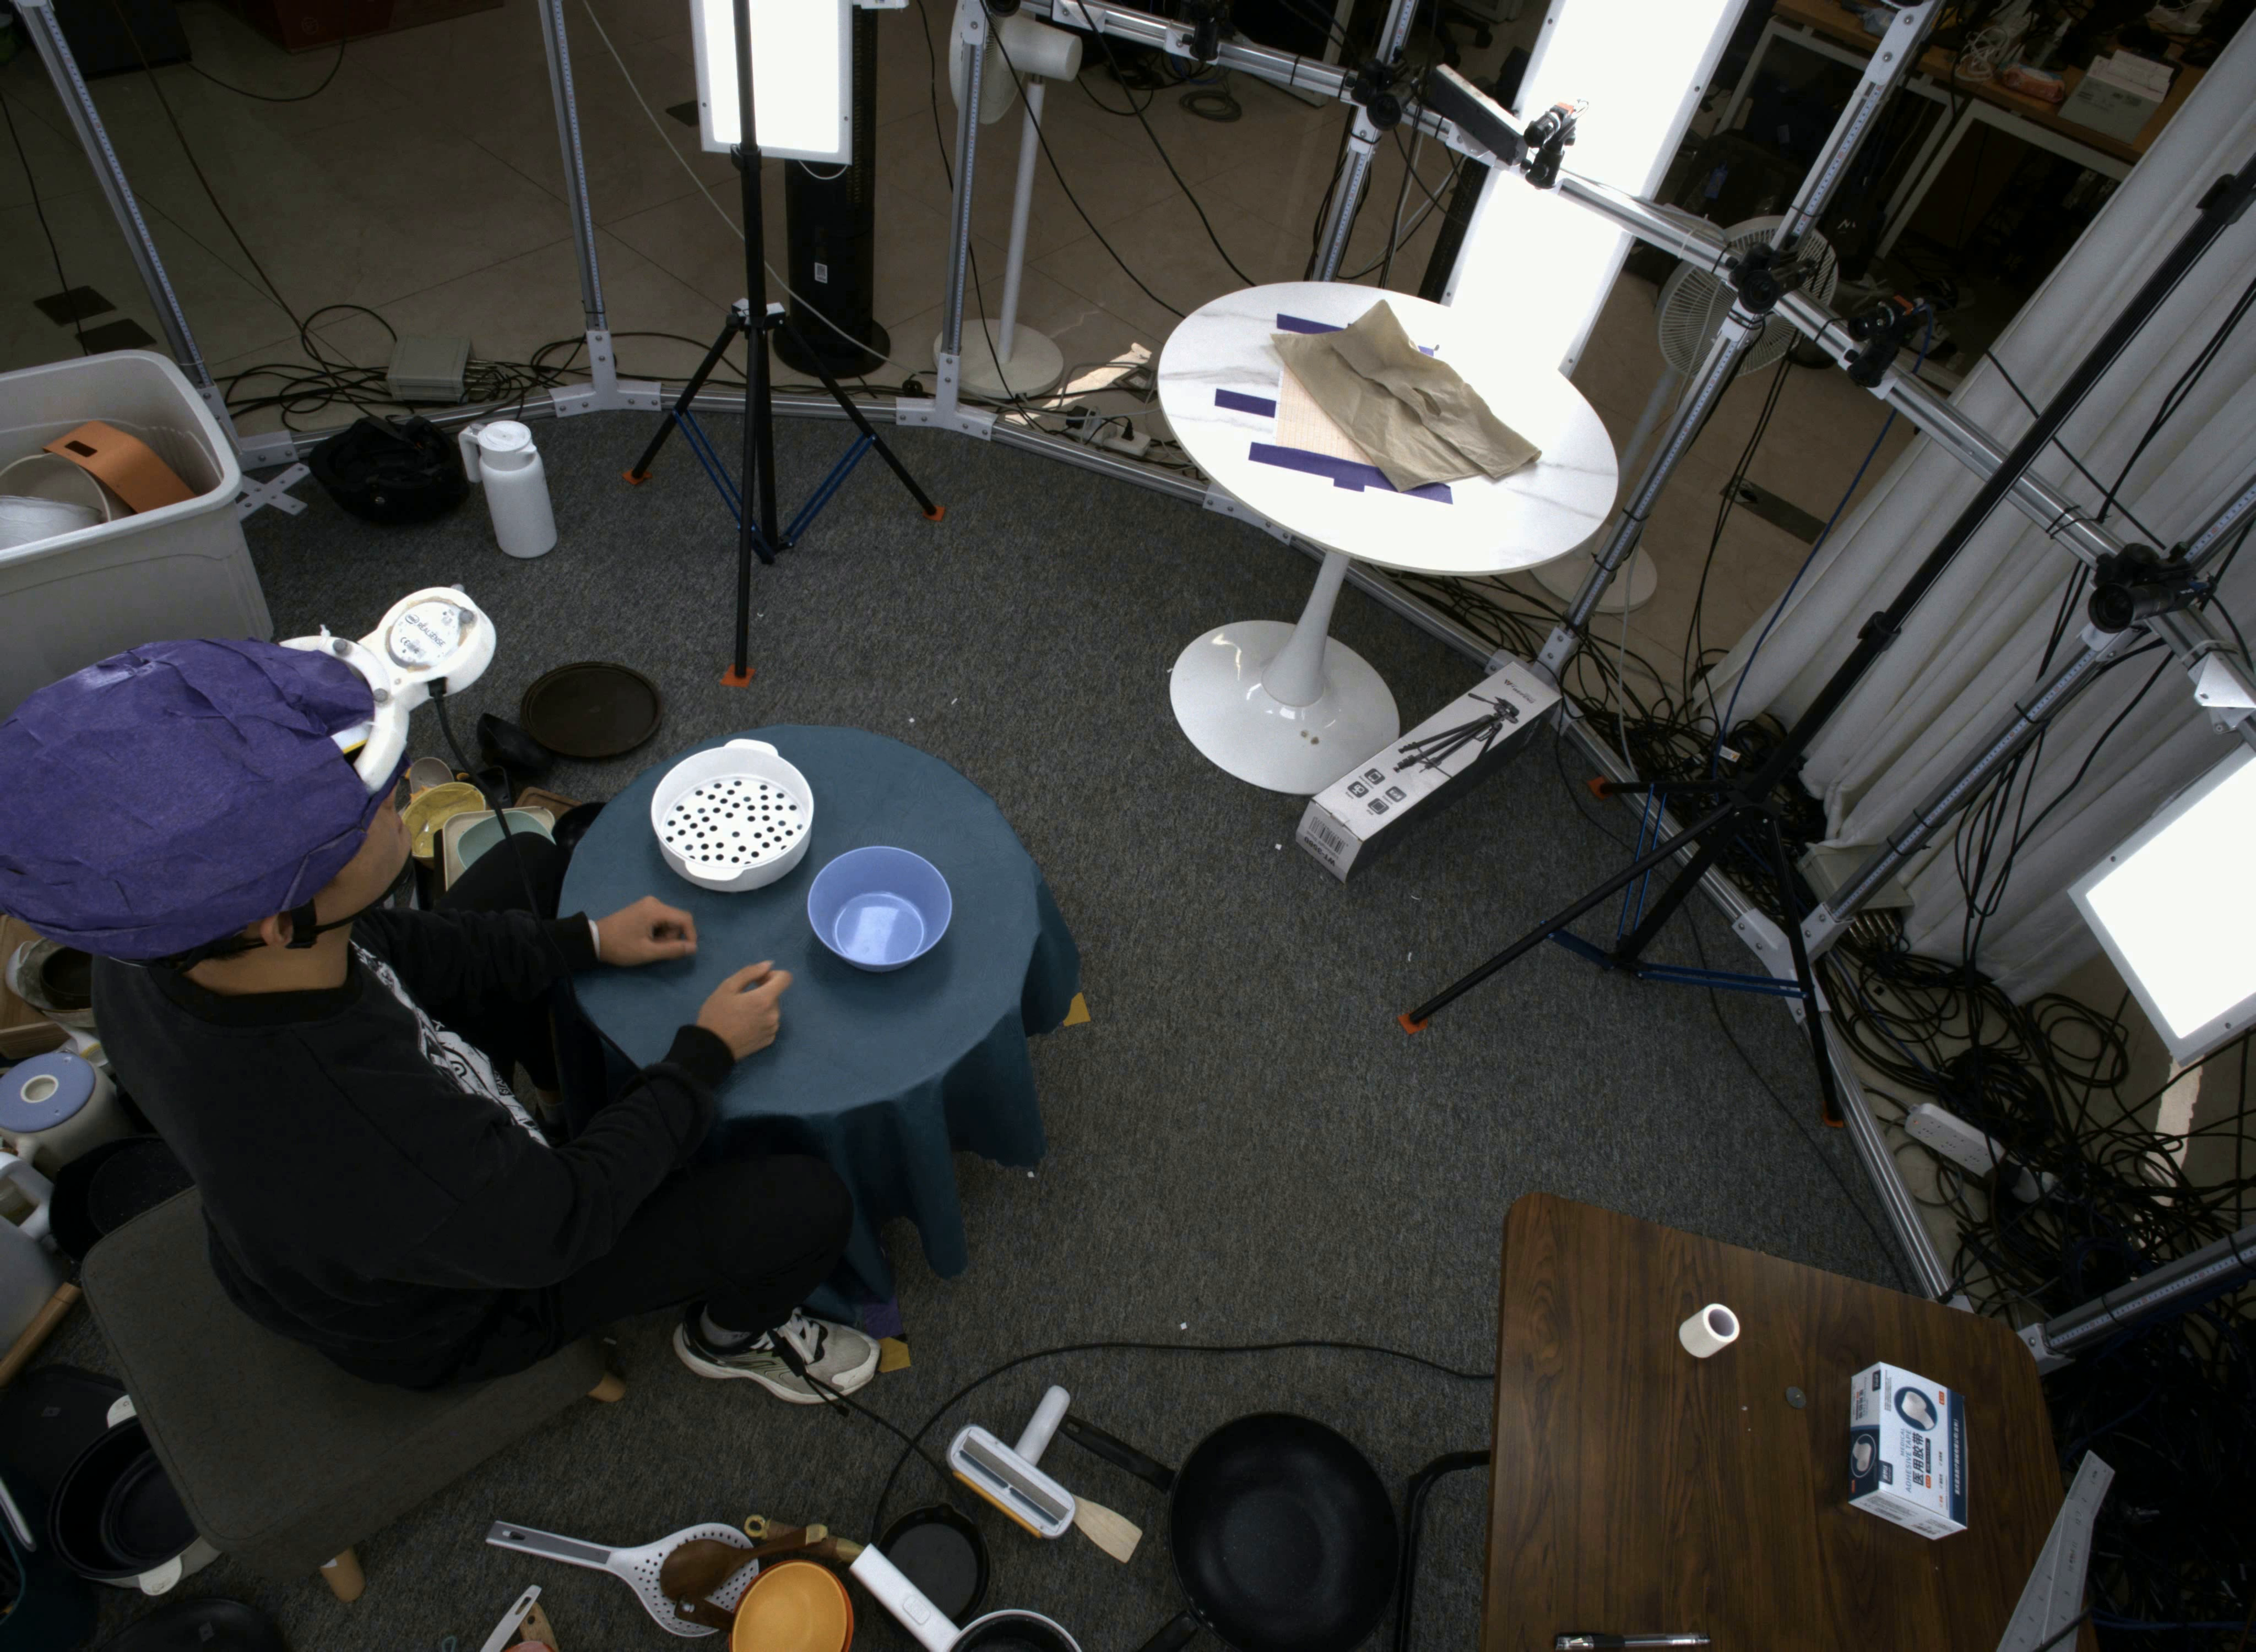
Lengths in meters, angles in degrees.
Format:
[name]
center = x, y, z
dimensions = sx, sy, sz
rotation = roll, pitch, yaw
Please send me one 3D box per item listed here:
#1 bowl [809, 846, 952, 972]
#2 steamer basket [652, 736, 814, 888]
[bowl]
center = -0.309, 0.114, 1.629
dimensions = 0.175, 0.072, 0.173
rotation = 7, 52, -8
[steamer basket]
center = -0.509, -0.013, 1.672
dimensions = 0.201, 0.071, 0.226
rotation = 9, 50, -8
